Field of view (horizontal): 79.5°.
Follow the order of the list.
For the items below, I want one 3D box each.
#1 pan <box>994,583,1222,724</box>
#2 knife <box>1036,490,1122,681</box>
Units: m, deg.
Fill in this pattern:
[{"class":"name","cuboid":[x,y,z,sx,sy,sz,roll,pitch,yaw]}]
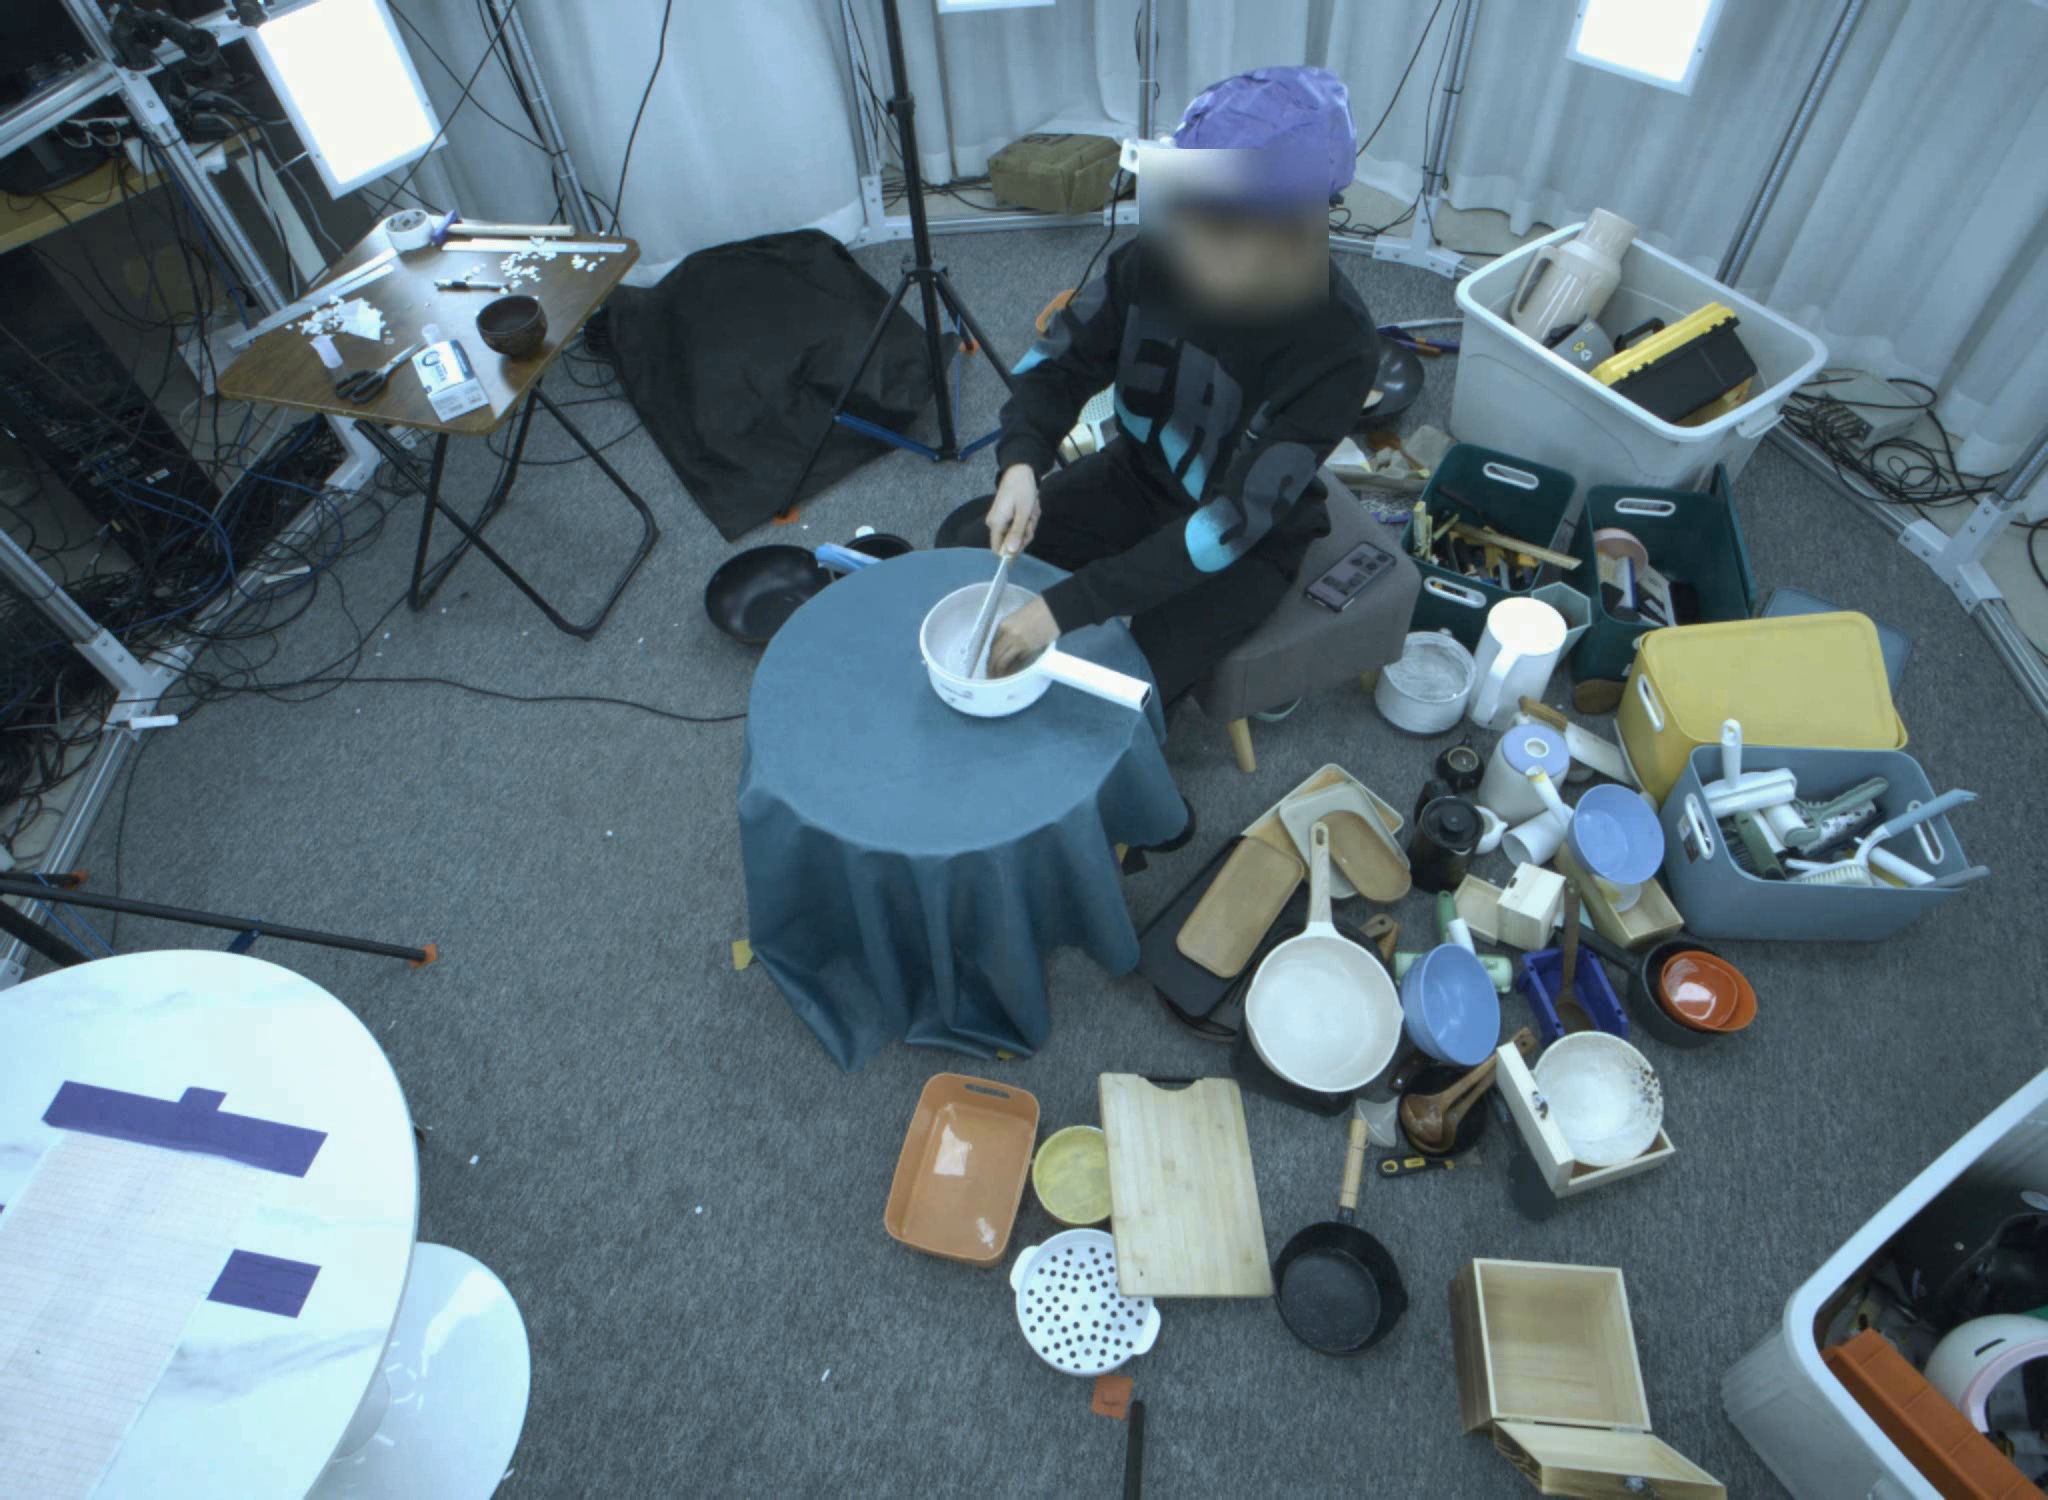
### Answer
[{"class":"pan","cuboid":[0.123,-0.110,1.800,0.350,0.103,0.202,27,59,19]},{"class":"knife","cuboid":[0.075,-0.239,1.769,0.021,0.115,0.315,21,75,10]}]
